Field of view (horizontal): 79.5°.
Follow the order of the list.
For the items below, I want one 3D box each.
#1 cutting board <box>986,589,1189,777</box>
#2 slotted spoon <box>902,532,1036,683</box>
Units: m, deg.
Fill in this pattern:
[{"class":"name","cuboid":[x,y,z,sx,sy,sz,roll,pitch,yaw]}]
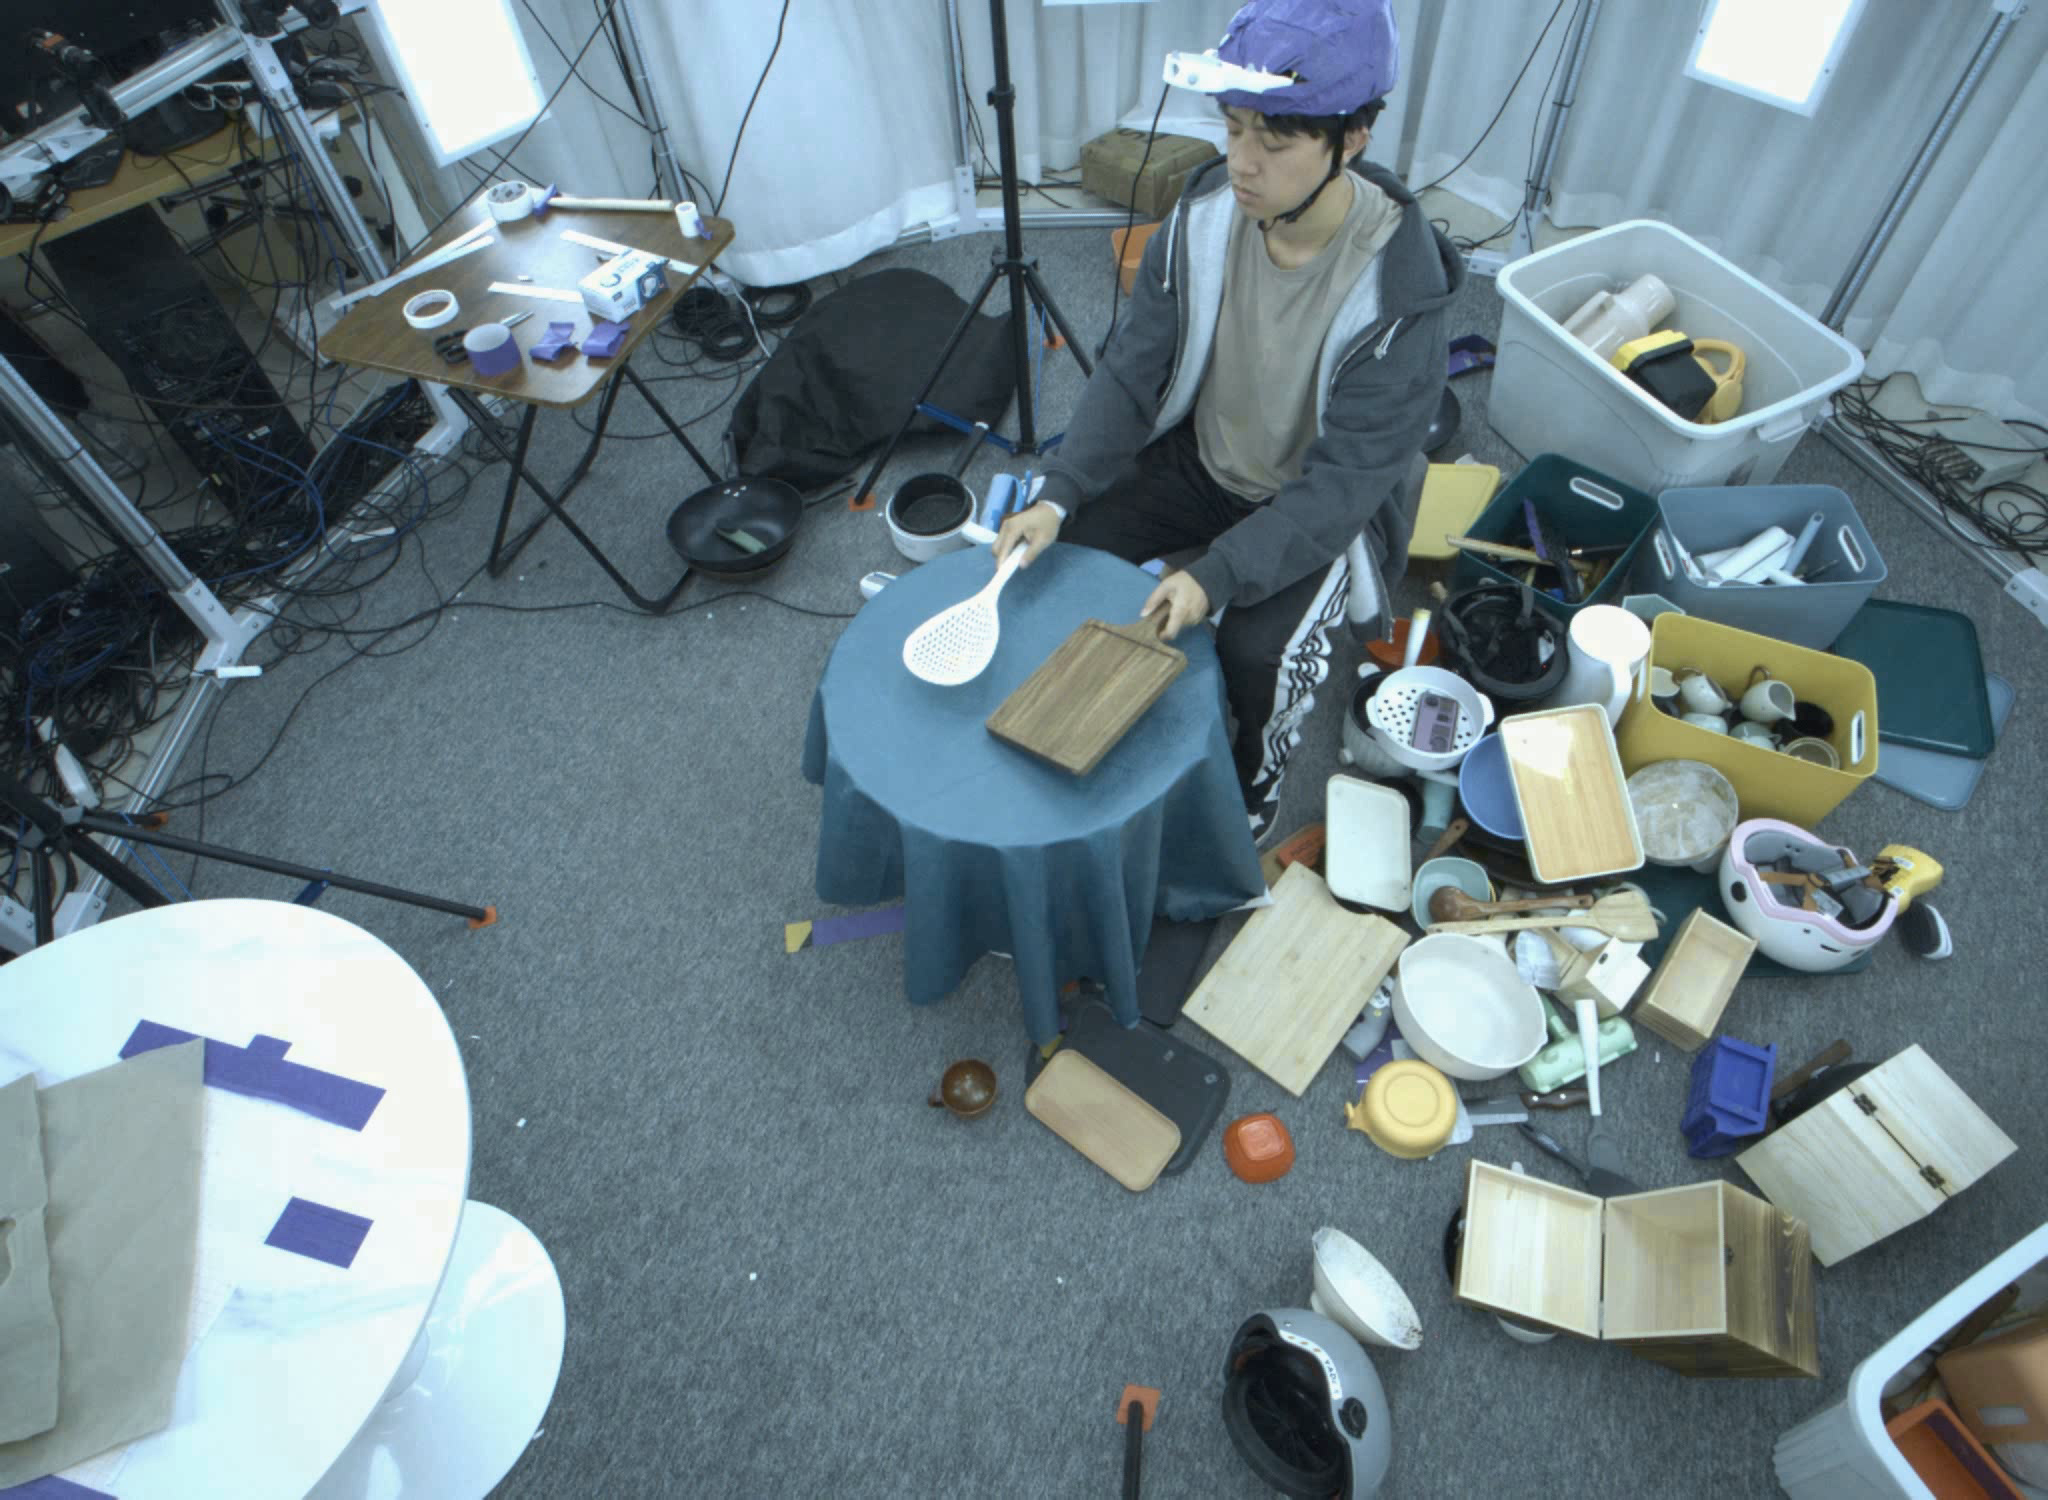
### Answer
[{"class":"cutting board","cuboid":[0.122,-0.117,1.801,0.196,0.023,0.354,26,63,37]},{"class":"slotted spoon","cuboid":[-0.060,-0.228,1.891,0.135,0.051,0.348,19,62,20]}]
